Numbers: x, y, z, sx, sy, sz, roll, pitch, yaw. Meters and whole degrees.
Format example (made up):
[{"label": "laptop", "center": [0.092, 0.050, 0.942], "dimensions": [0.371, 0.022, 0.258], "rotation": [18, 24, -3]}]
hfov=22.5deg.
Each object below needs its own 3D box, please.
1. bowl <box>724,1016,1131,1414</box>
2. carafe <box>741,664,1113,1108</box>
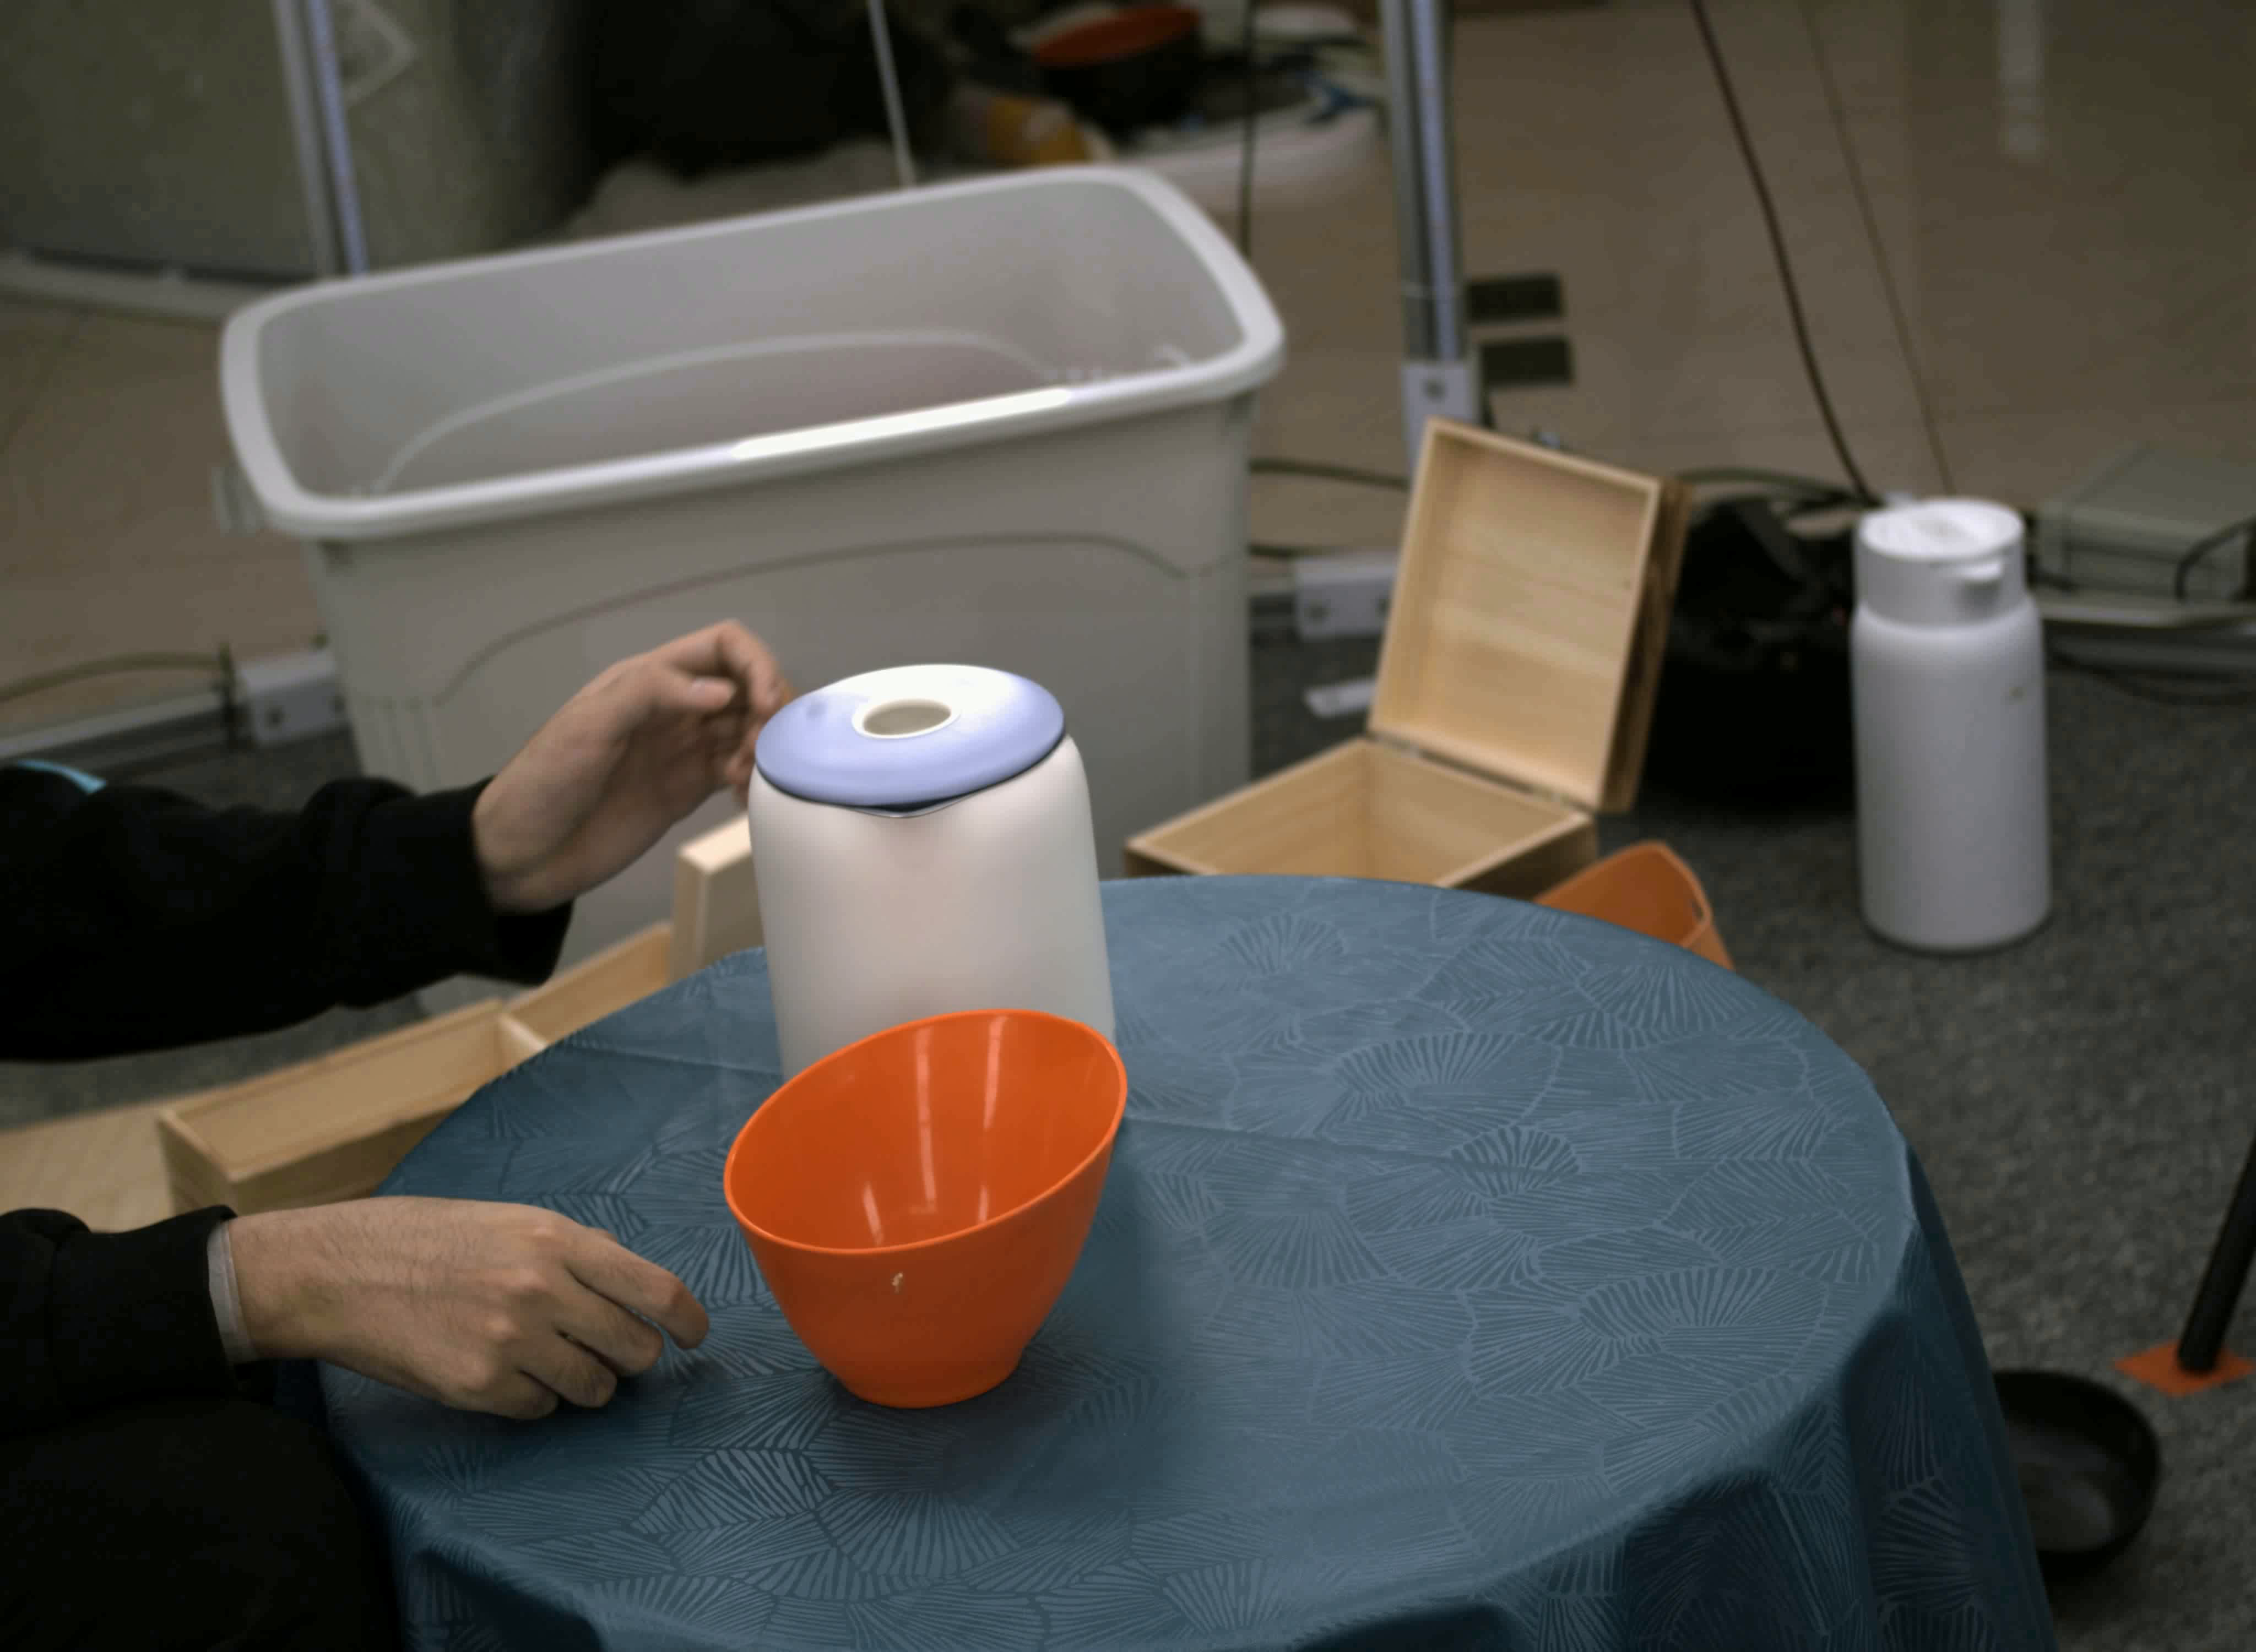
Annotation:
[{"label": "bowl", "center": [-0.067, 0.145, 2.026], "dimensions": [0.148, 0.106, 0.146], "rotation": [-5, 25, 2]}, {"label": "carafe", "center": [-0.078, 0.030, 2.193], "dimensions": [0.132, 0.185, 0.188], "rotation": [-6, 23, -1]}]
